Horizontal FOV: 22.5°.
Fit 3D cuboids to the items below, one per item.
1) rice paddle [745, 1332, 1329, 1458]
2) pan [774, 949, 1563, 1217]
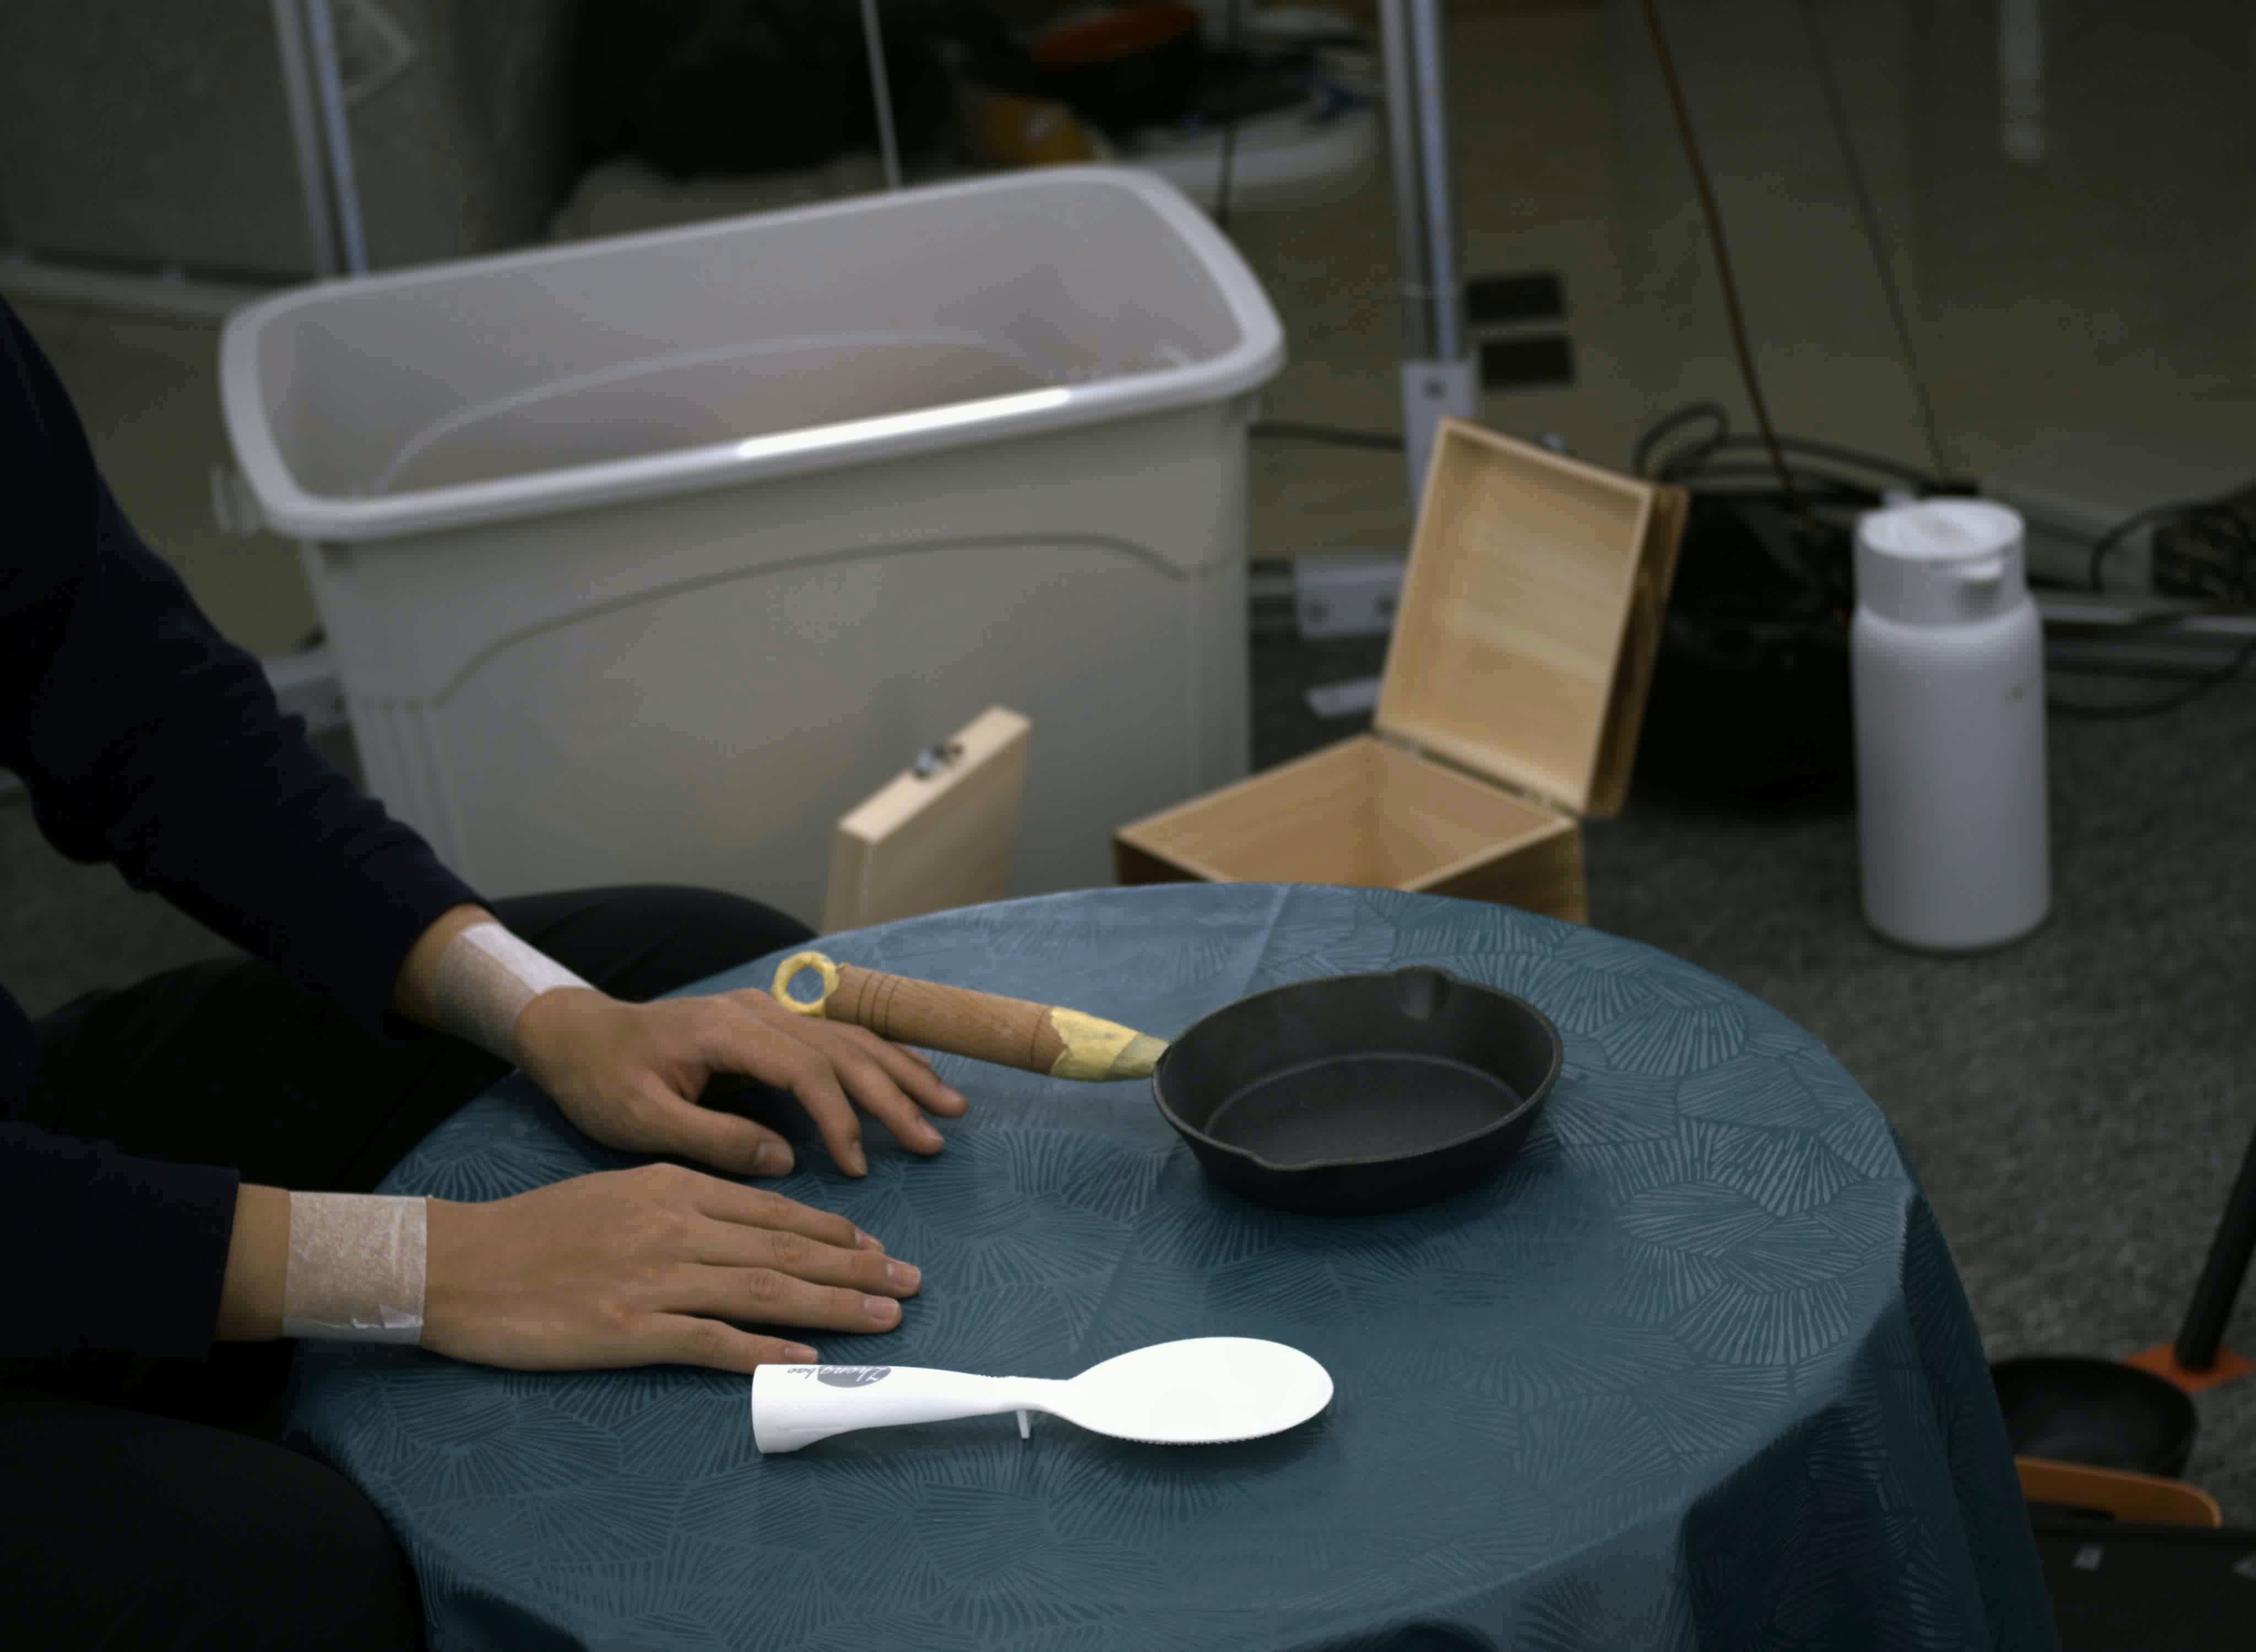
[{"bbox_3d":[-0.031,0.199,1.991,0.205,0.030,0.068,-4,27,7],"label":"rice paddle"},{"bbox_3d":[0.011,0.089,2.190,0.323,0.050,0.167,7,28,24],"label":"pan"}]
